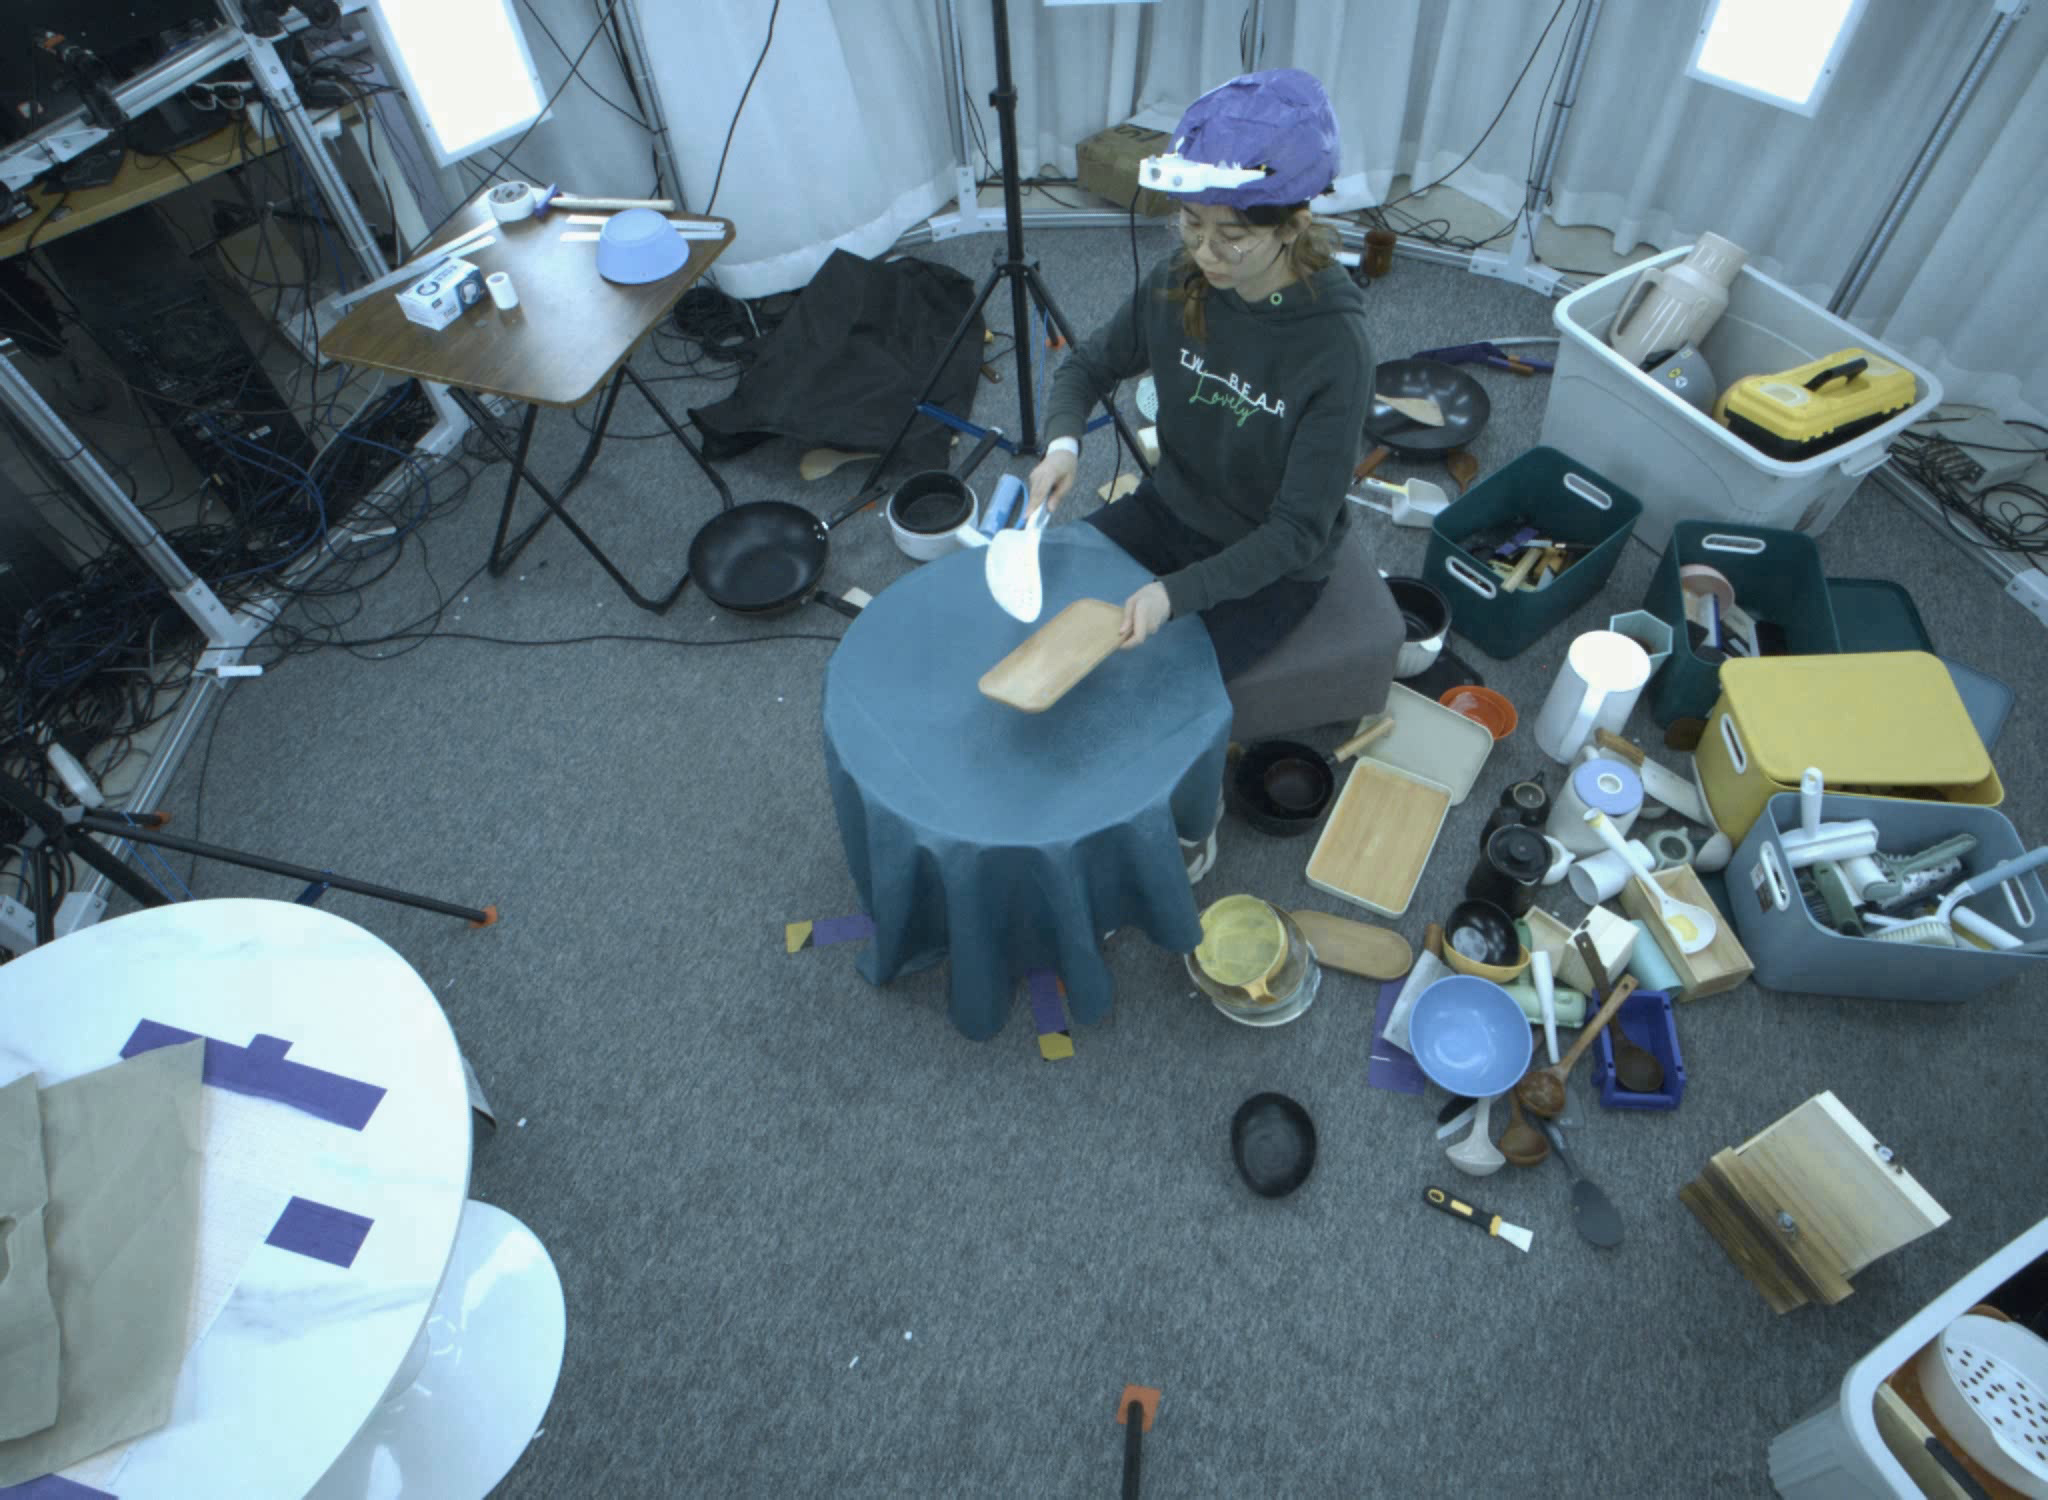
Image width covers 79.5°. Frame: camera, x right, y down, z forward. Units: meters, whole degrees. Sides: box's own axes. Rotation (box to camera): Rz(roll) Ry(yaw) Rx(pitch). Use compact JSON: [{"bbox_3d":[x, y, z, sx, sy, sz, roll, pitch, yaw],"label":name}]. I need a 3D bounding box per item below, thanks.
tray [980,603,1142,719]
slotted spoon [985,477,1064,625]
[{"bbox_3d":[0.055,-0.130,1.768,0.127,0.023,0.252,26,53,35],"label":"tray"},{"bbox_3d":[0.009,-0.315,1.833,0.045,0.138,0.349,-8,38,31],"label":"slotted spoon"}]
